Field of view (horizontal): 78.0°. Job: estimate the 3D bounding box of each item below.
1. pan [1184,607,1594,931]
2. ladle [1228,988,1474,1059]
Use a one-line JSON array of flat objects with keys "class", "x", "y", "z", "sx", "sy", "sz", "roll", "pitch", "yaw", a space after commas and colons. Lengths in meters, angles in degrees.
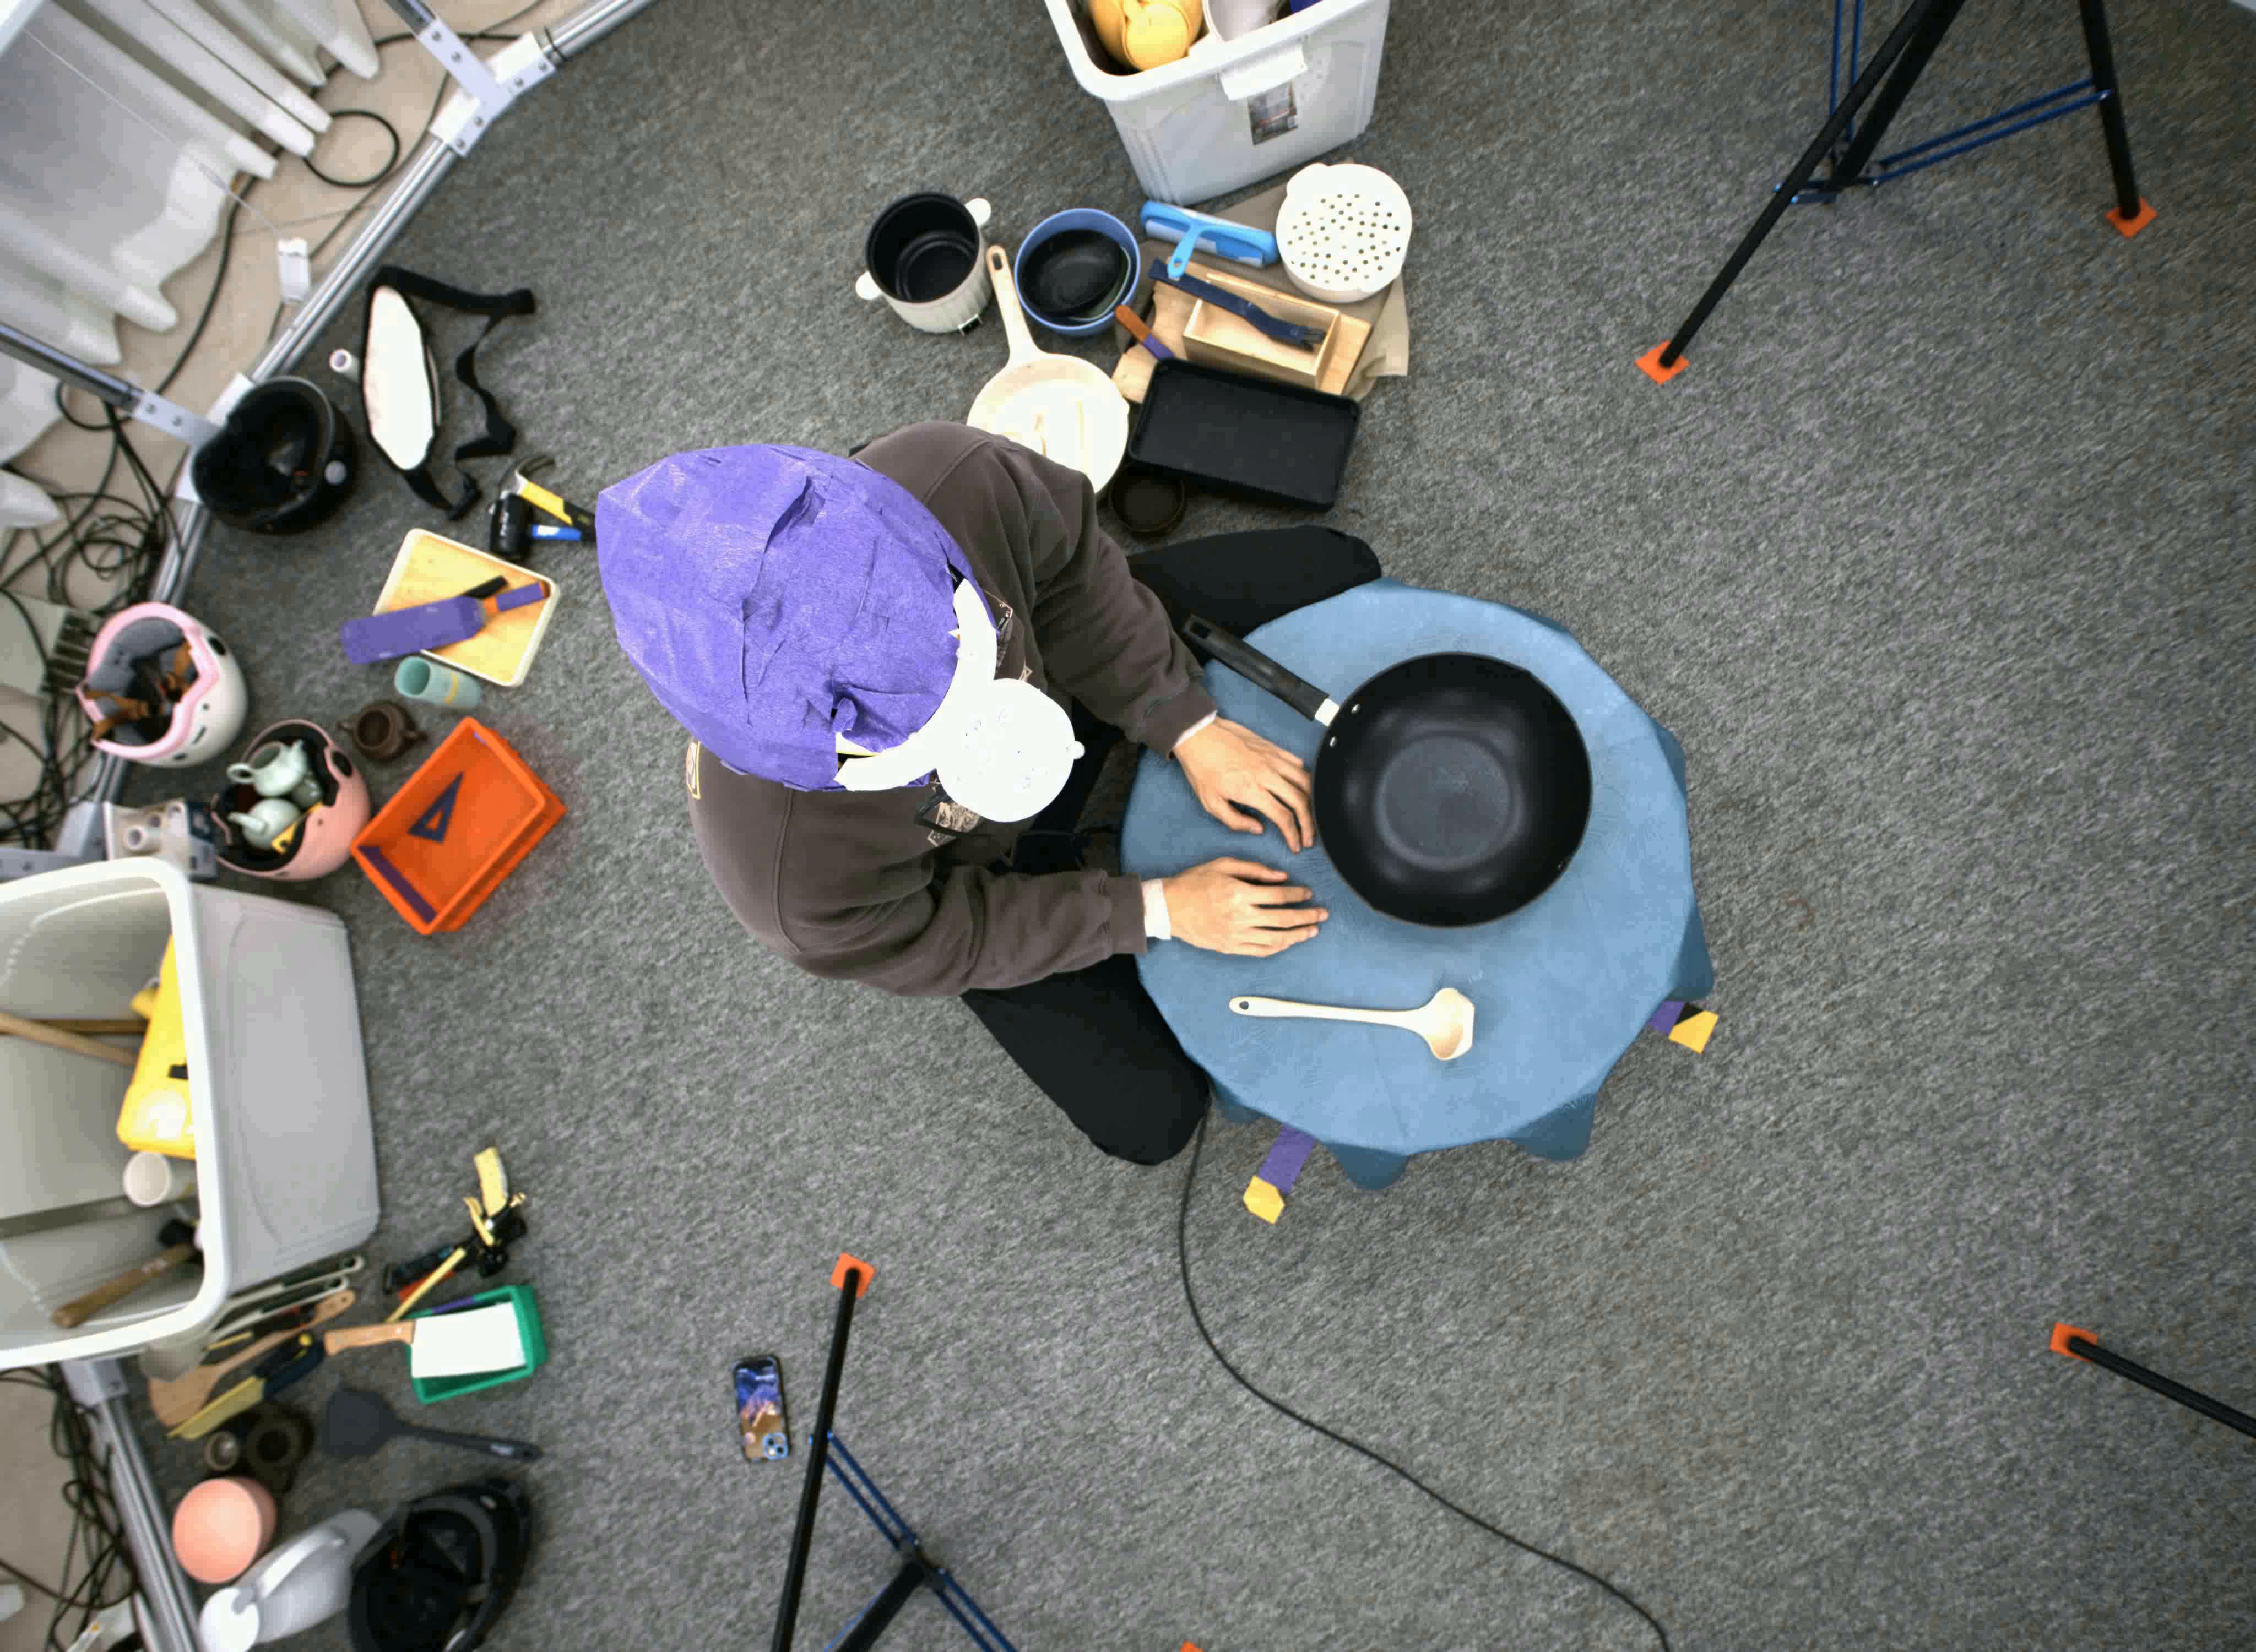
[{"class": "pan", "x": 0.253, "y": -0.084, "z": 1.426, "sx": 0.462, "sy": 0.087, "sz": 0.289, "roll": 34, "pitch": 94, "yaw": 11}, {"class": "ladle", "x": 0.227, "y": 0.196, "z": 1.422, "sx": 0.255, "sy": 0.072, "sz": 0.072, "roll": 2, "pitch": 90, "yaw": 9}]
